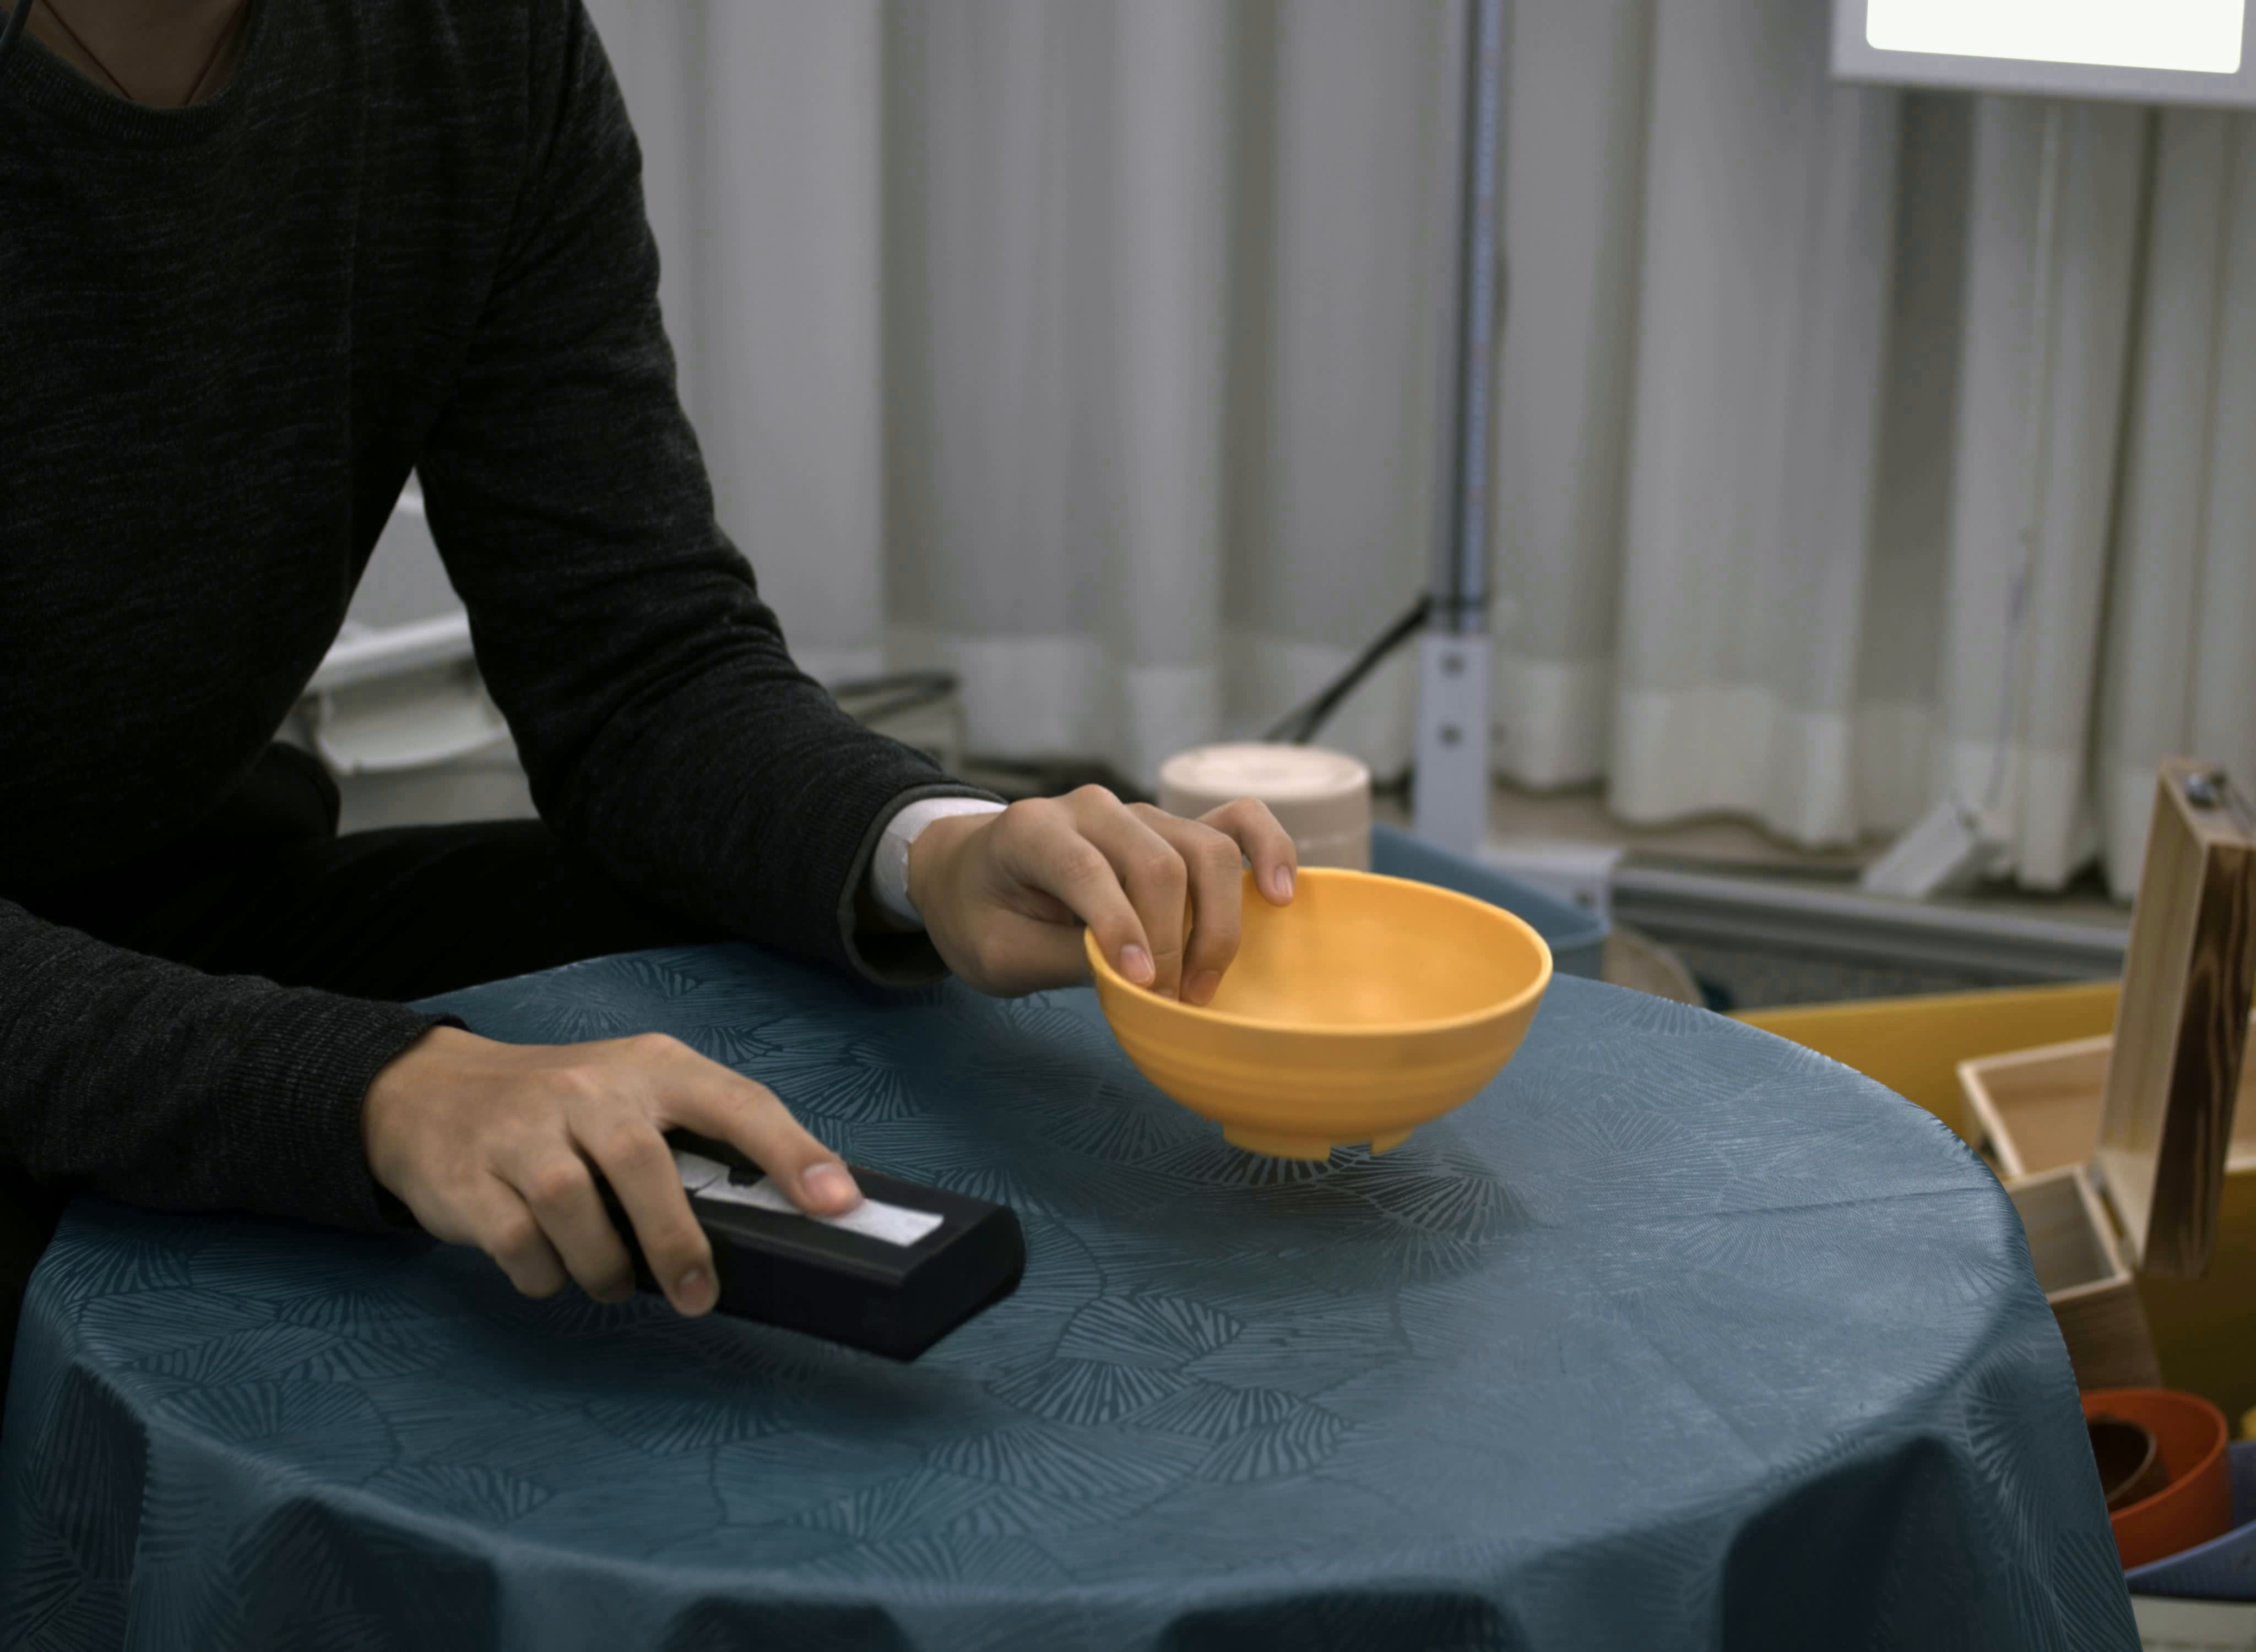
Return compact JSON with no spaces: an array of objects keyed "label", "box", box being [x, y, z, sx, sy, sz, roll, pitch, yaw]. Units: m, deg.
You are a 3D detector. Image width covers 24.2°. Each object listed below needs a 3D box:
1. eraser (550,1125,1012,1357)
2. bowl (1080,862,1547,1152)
[{"label":"eraser","box":[-0.096,0.114,1.462,0.124,0.031,0.053,10,26,31]},{"label":"bowl","box":[0.055,0.061,1.626,0.145,0.060,0.144,4,17,-1]}]
